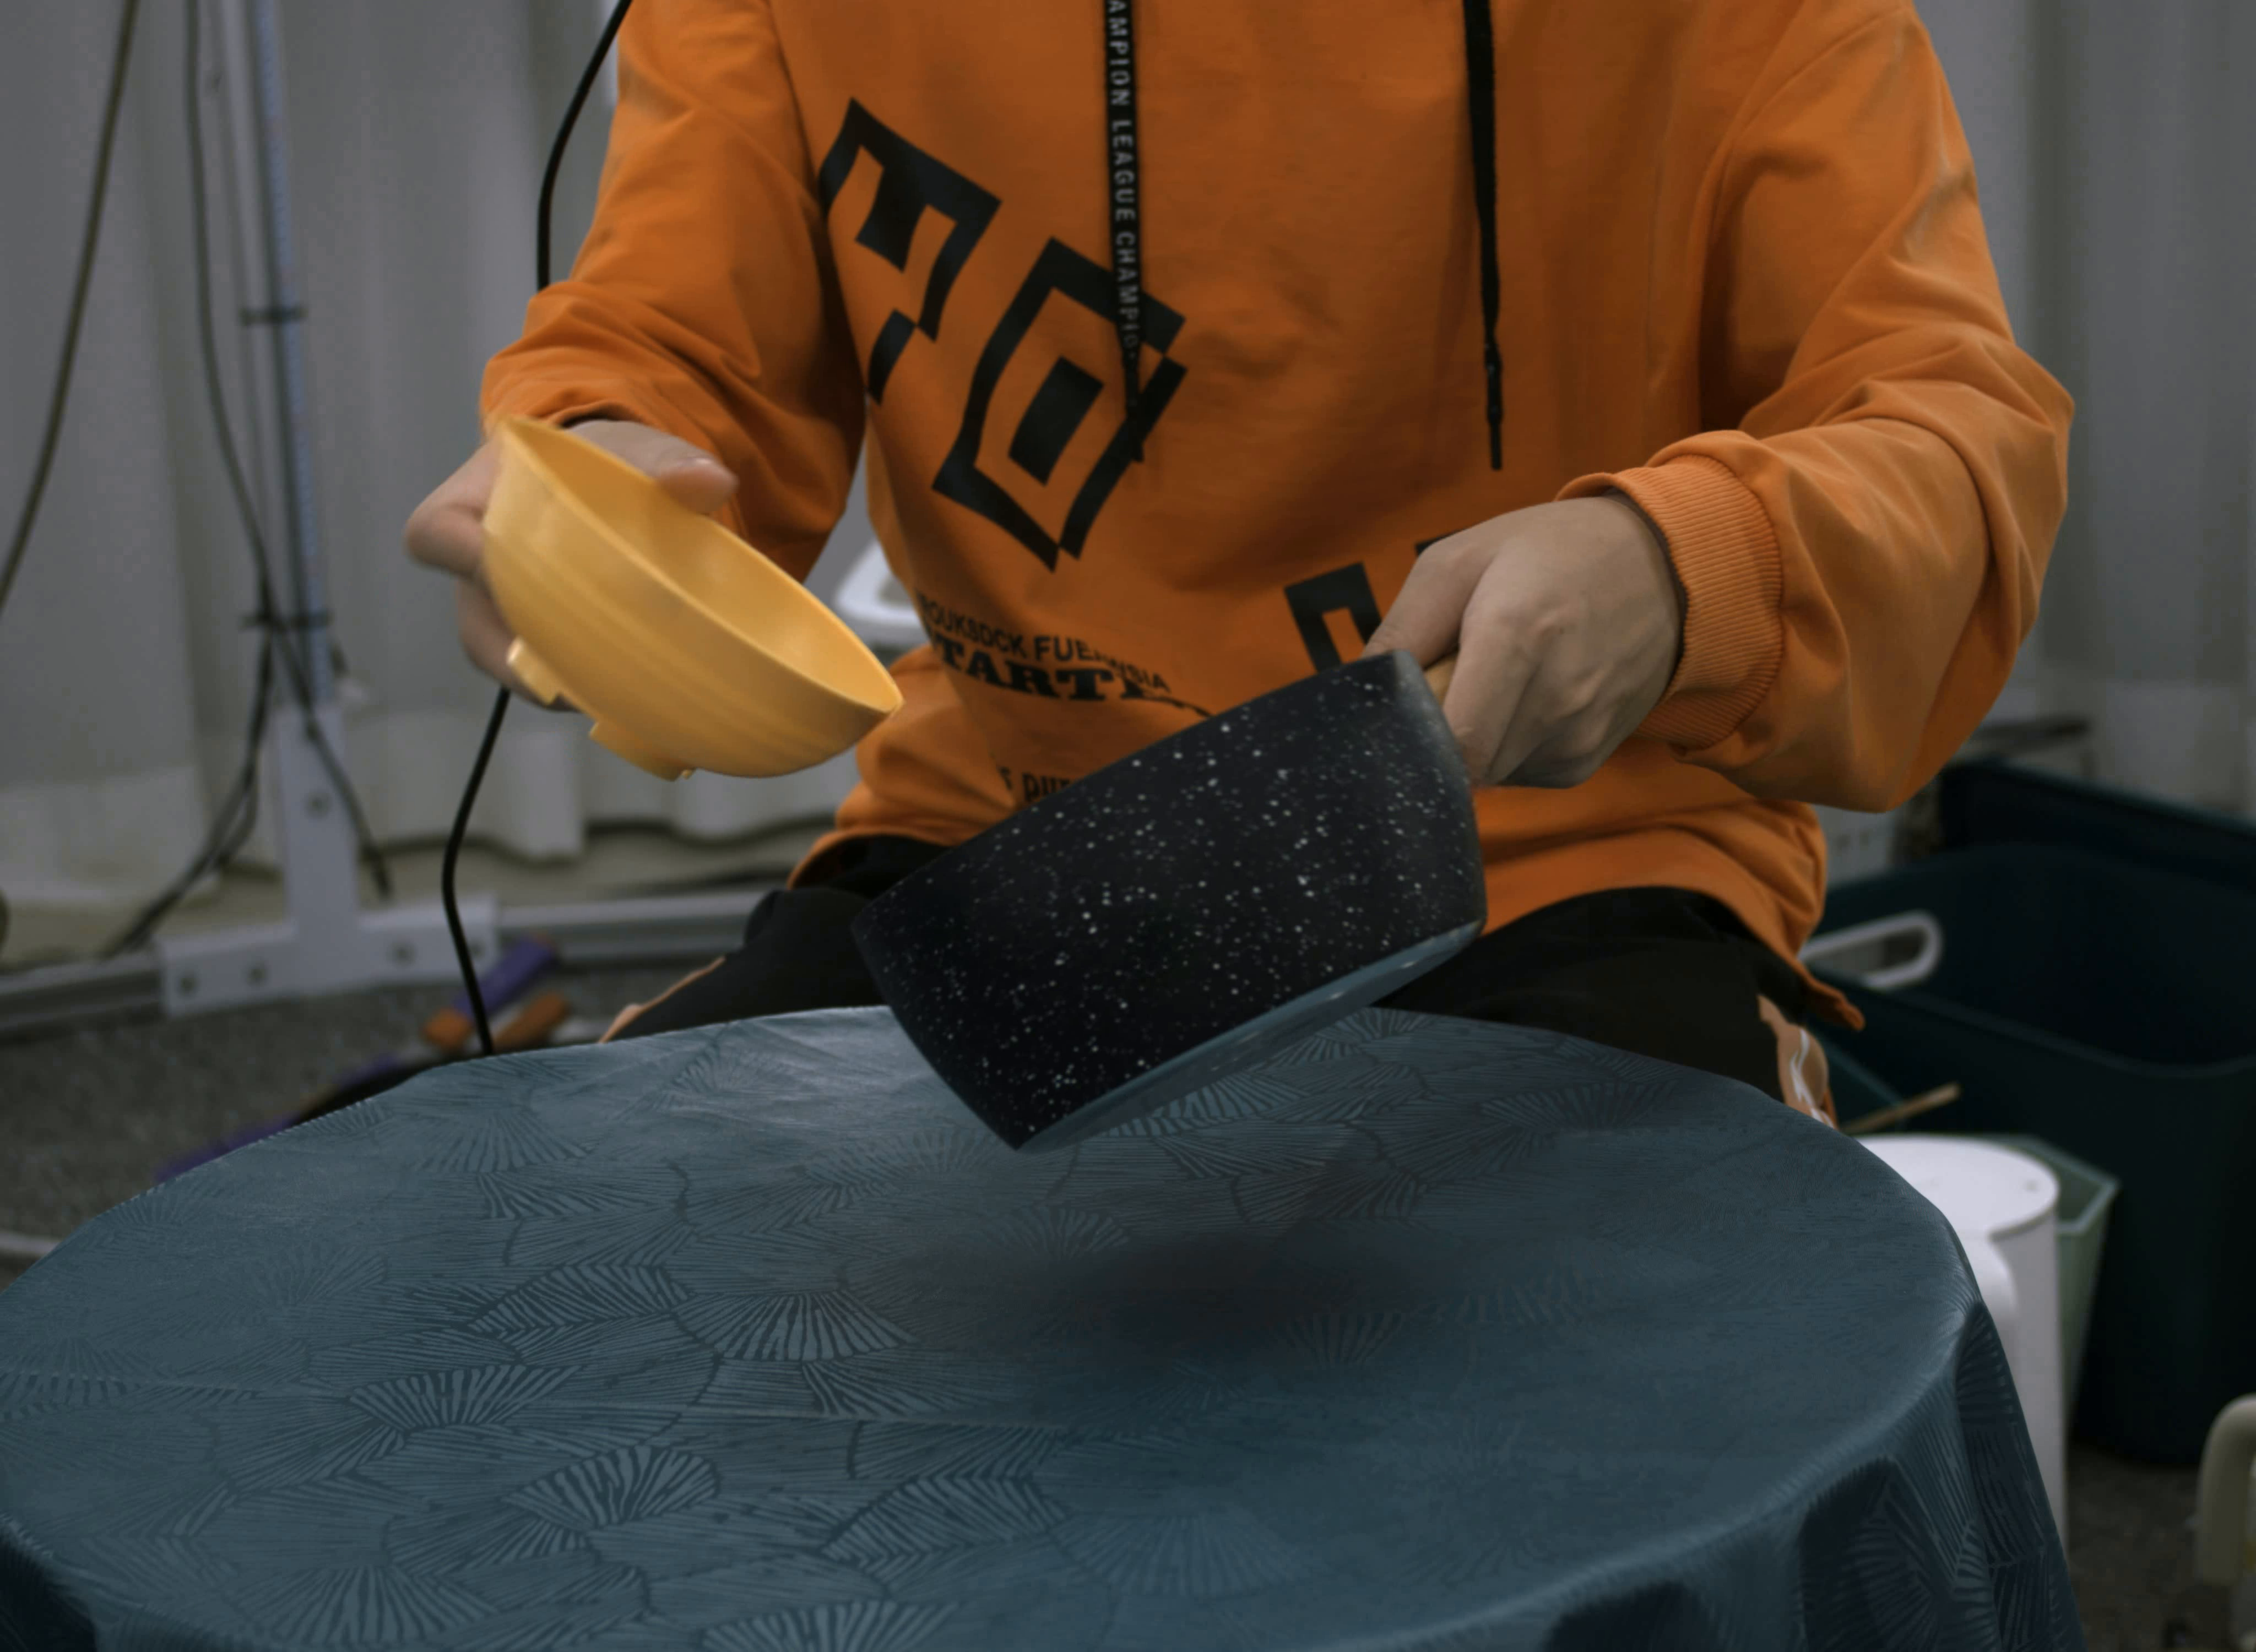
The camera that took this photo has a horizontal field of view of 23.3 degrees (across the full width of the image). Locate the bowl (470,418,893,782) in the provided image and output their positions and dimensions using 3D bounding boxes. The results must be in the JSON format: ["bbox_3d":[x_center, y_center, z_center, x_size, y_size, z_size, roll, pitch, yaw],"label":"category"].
[{"bbox_3d":[-0.145,-0.056,1.637,0.145,0.060,0.146,35,8,-6],"label":"bowl"}]

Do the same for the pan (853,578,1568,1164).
[{"bbox_3d":[0.059,0.003,1.660,0.206,0.109,0.342,-31,-7,34],"label":"pan"}]
